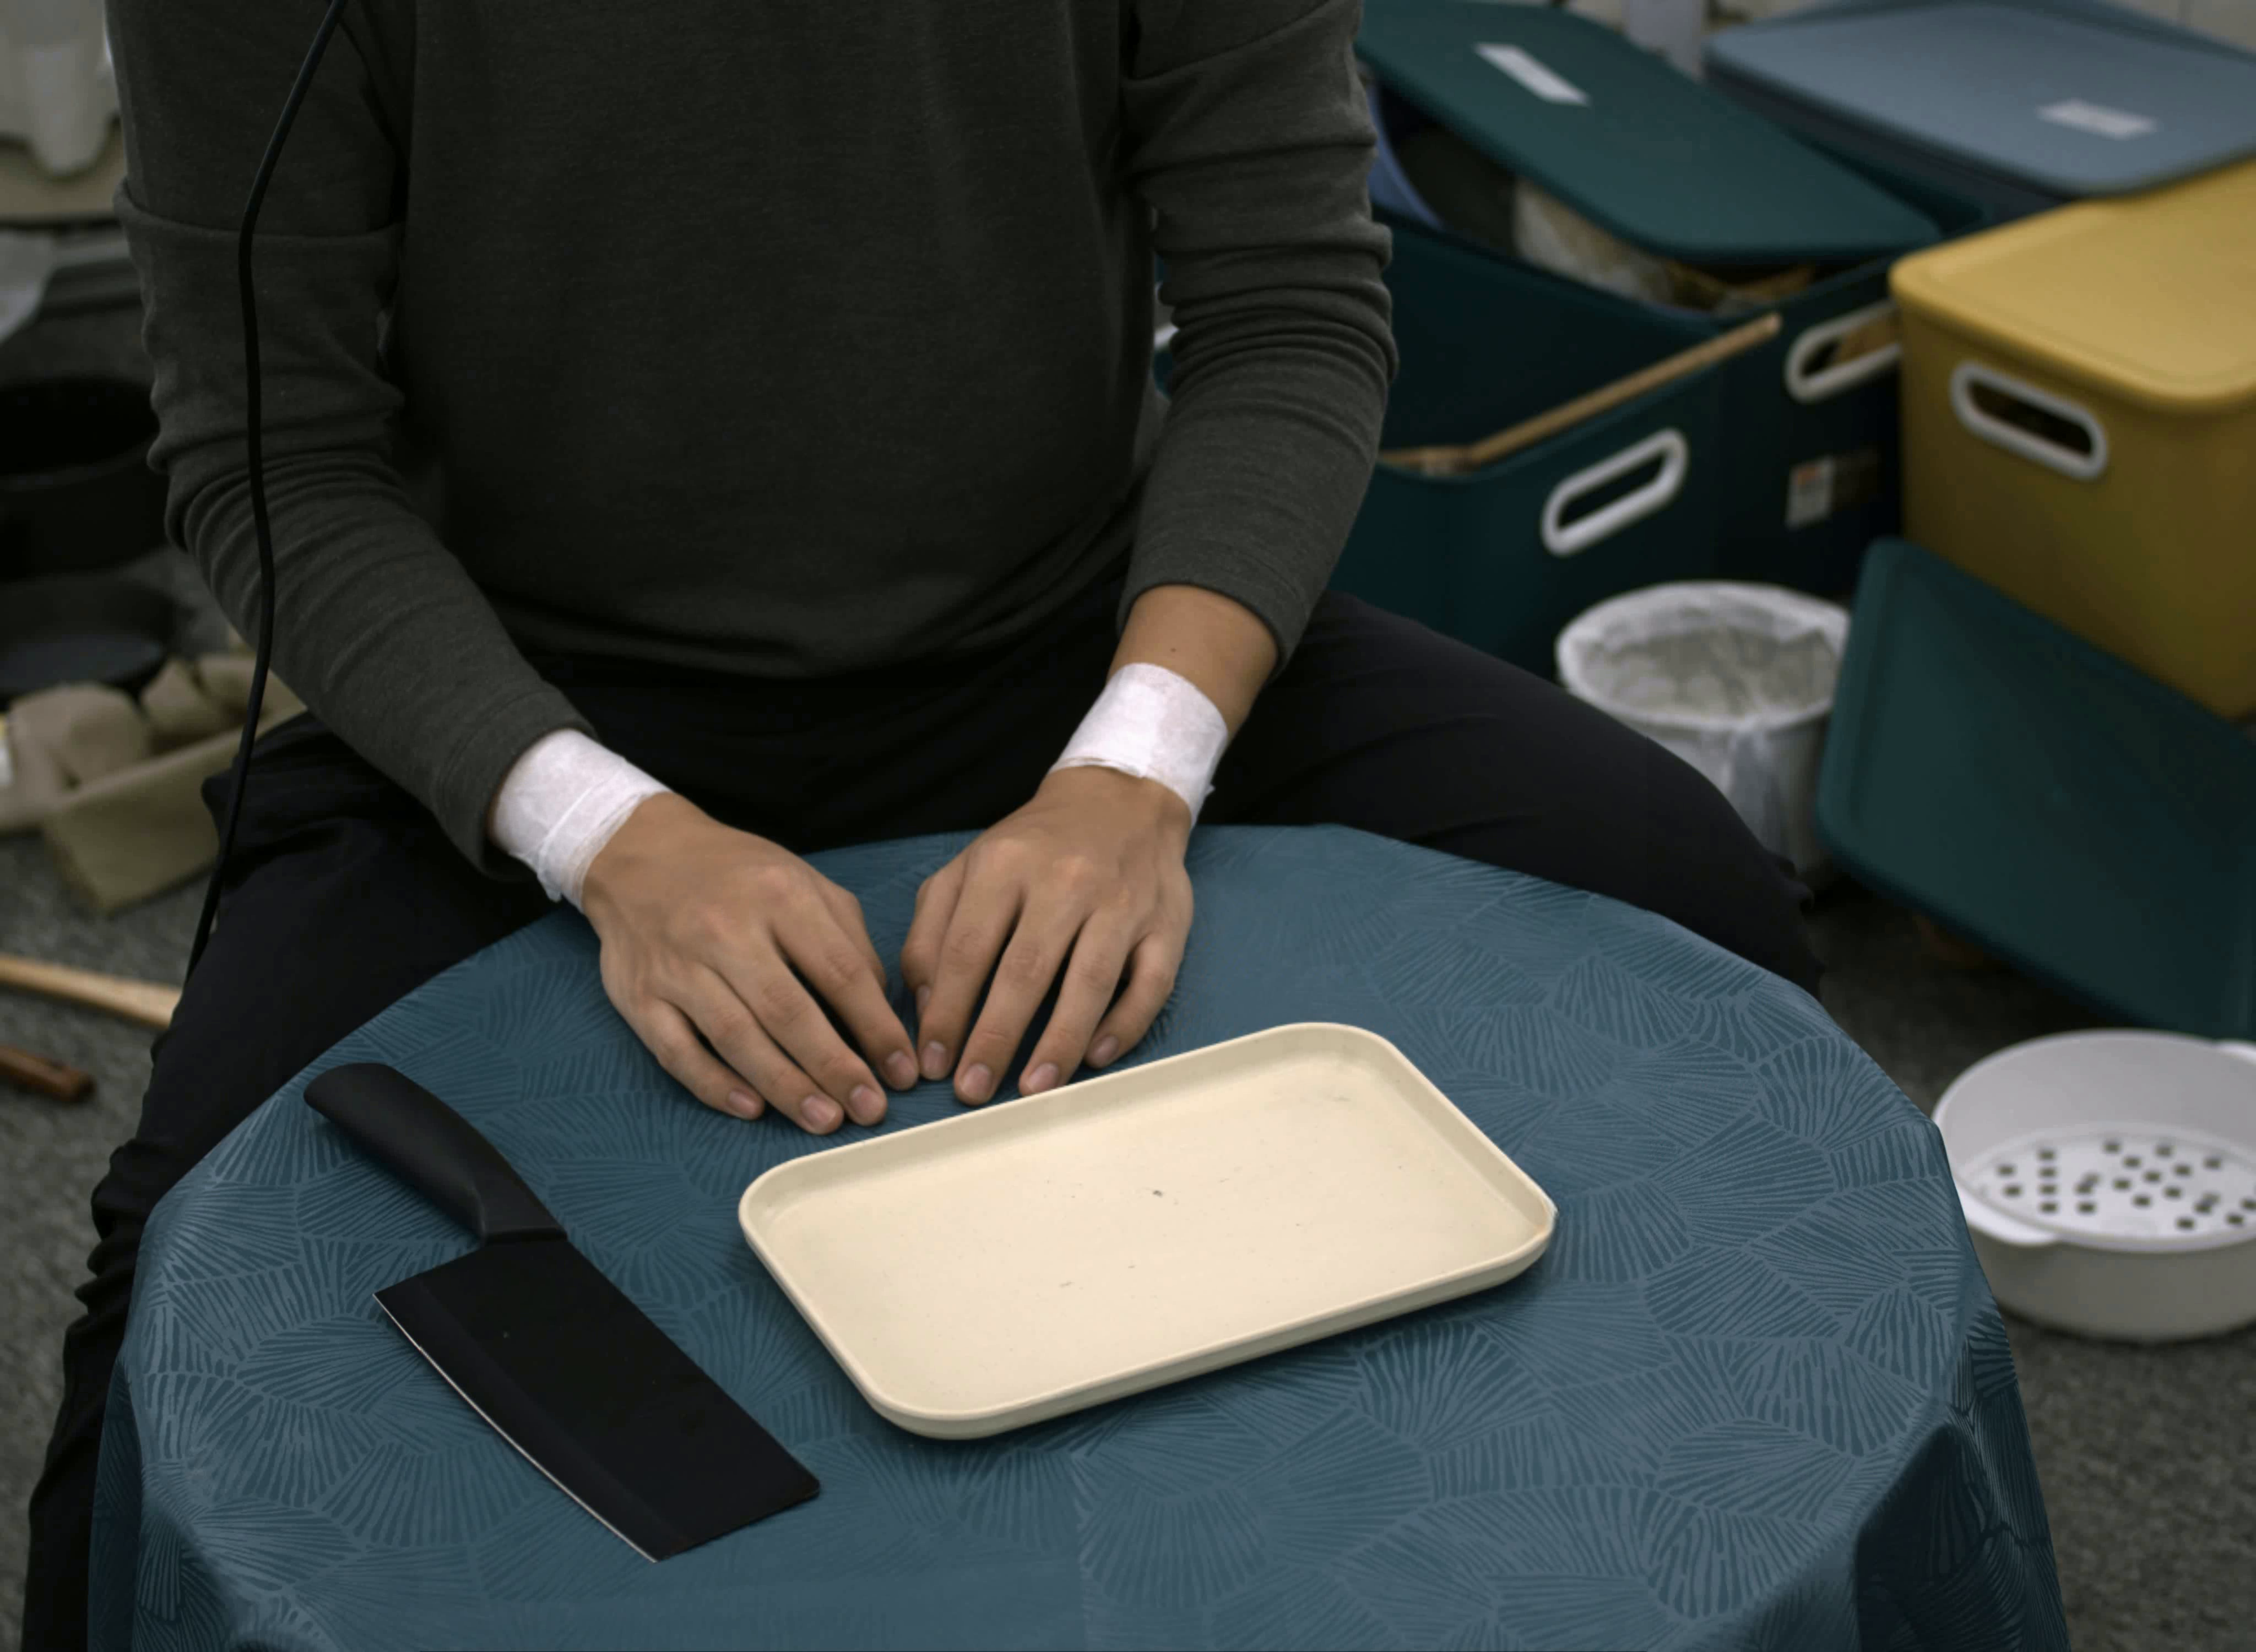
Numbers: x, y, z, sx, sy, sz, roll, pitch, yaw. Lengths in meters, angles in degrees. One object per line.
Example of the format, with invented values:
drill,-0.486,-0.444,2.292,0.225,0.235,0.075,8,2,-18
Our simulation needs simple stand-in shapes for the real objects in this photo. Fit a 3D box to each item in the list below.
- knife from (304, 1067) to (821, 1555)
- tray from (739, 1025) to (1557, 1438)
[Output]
knife,-0.197,0.152,1.806,0.081,0.020,0.304,-17,32,-24
tray,0.006,0.131,1.824,0.240,0.017,0.172,-14,29,-21
